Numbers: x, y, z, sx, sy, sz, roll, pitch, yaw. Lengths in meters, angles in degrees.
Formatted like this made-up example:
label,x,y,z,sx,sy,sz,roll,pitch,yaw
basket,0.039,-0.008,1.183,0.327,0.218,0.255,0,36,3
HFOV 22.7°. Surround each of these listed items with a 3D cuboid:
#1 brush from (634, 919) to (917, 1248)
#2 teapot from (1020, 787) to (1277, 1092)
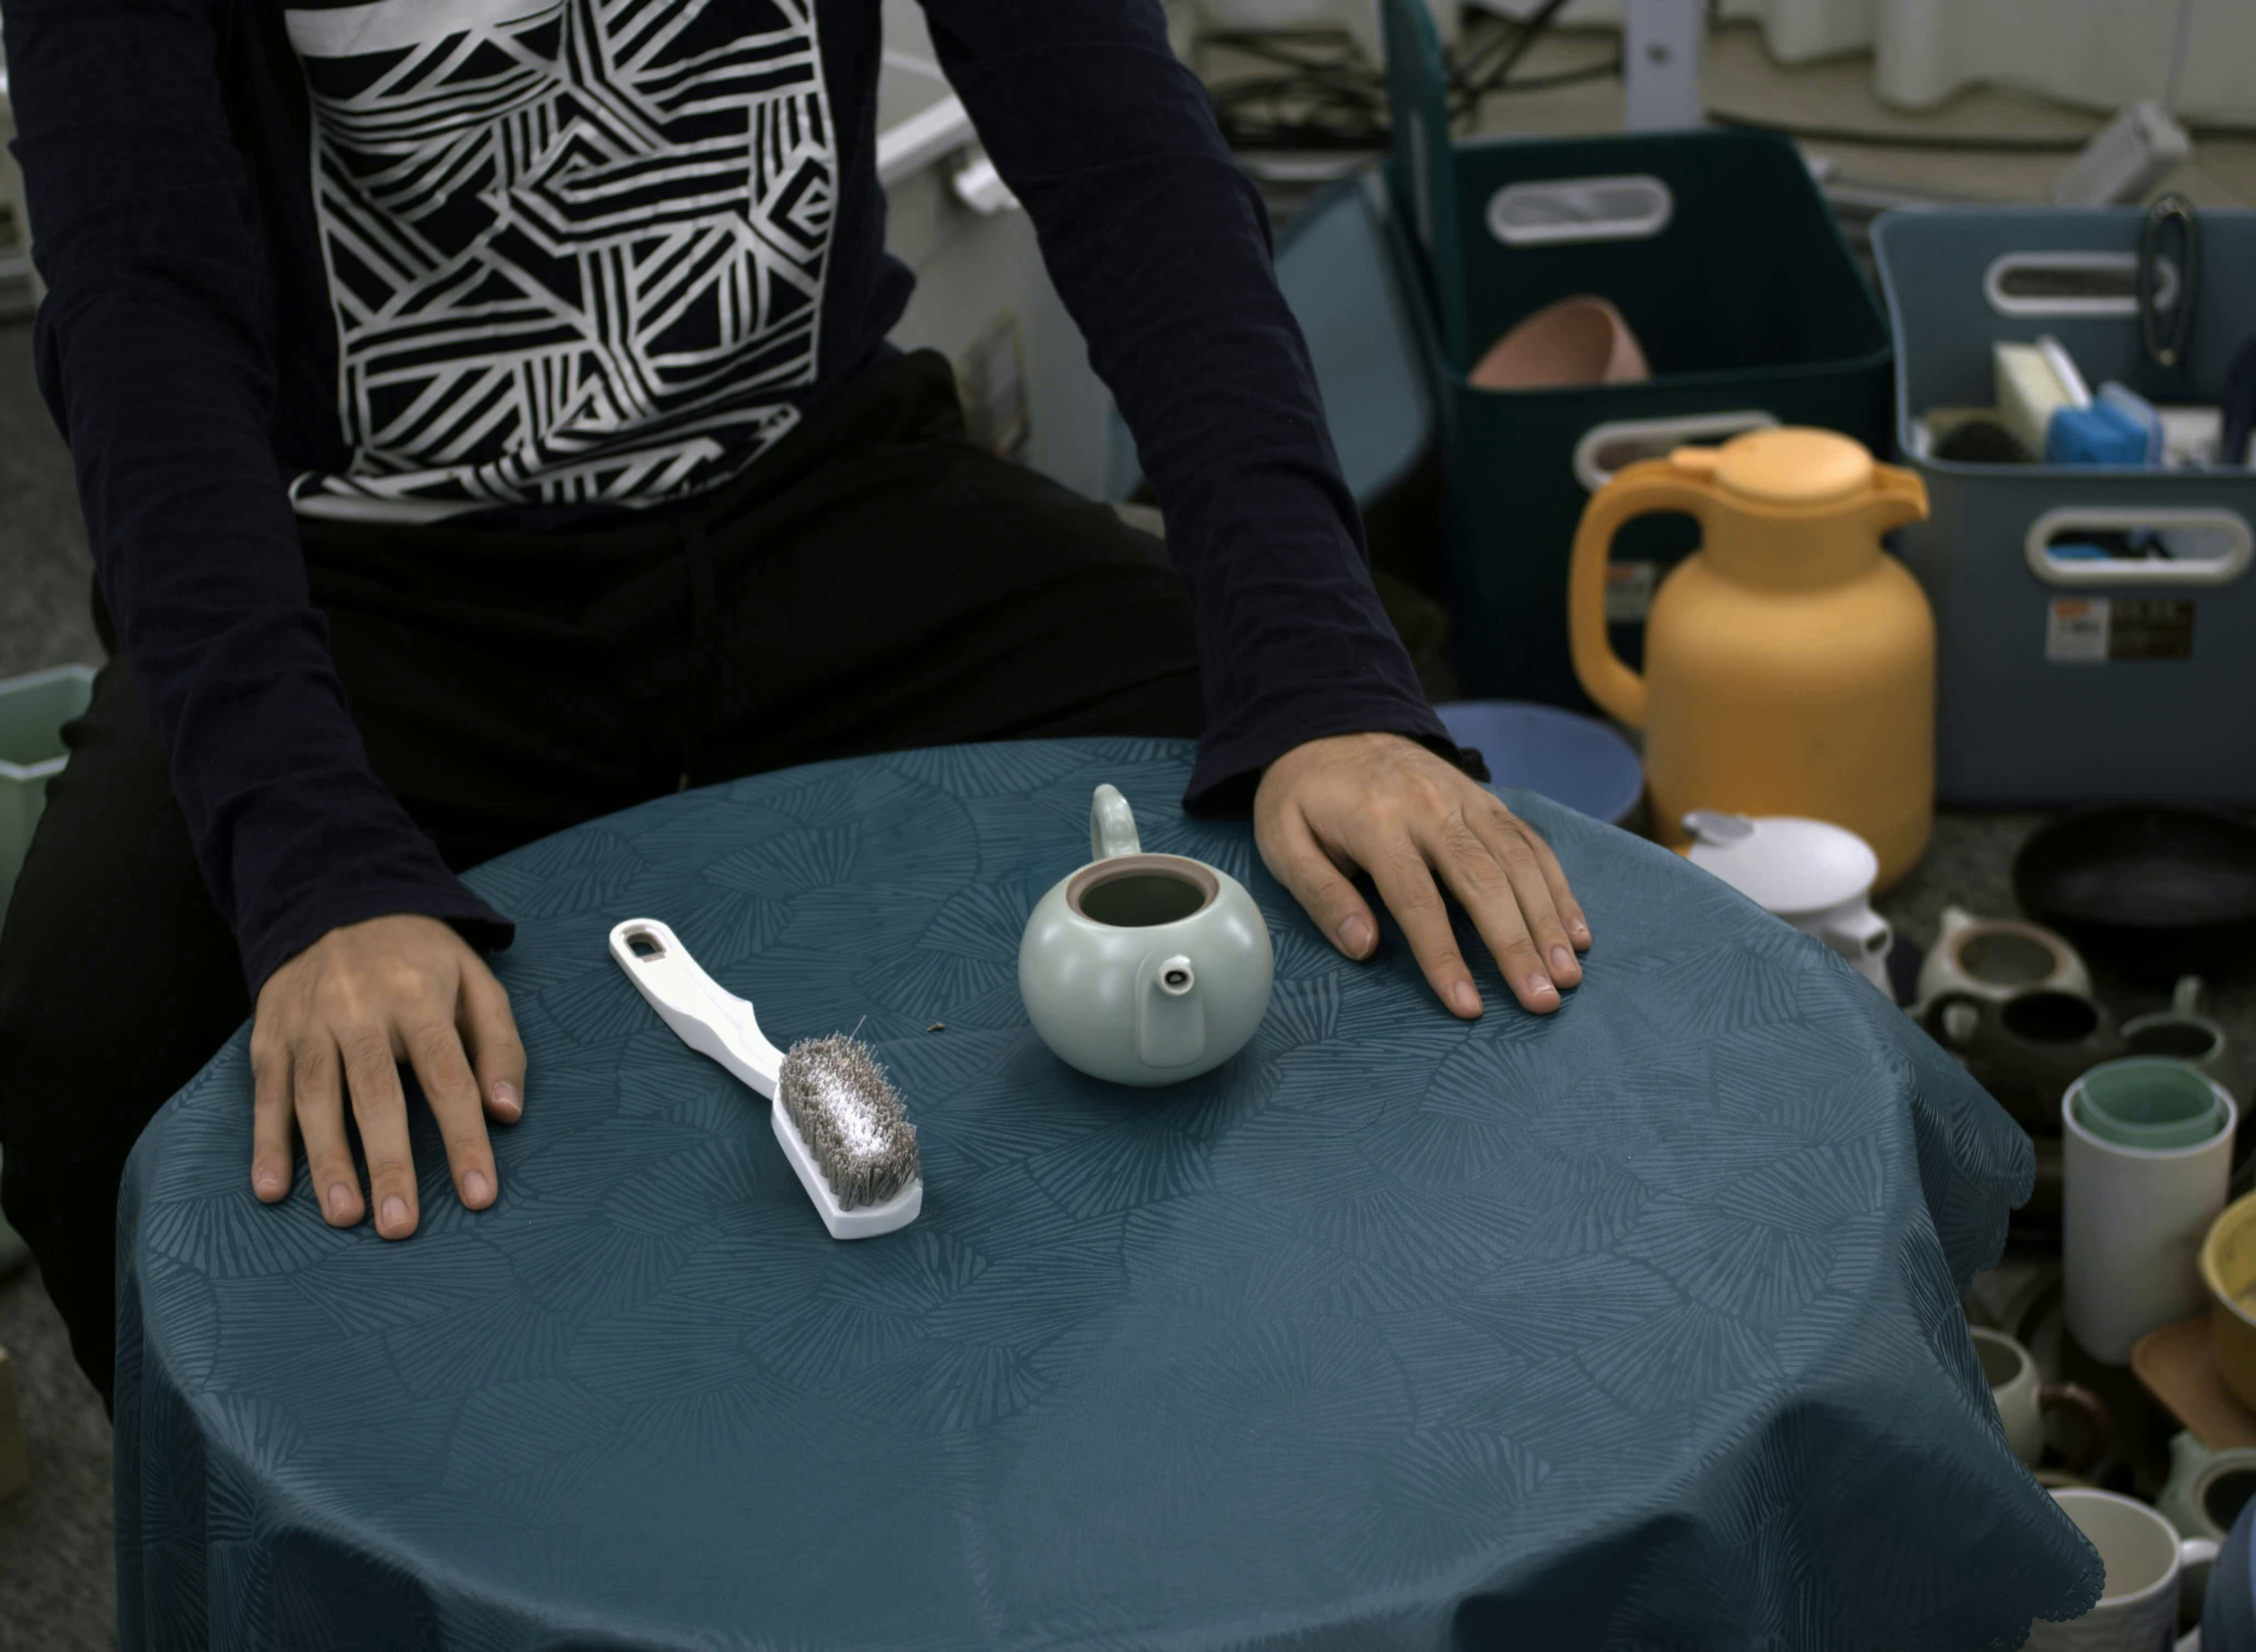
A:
label,x,y,z,sx,sy,sz,roll,pitch,yaw
brush,-0.126,0.070,1.921,0.034,0.050,0.245,-16,30,-16
teapot,0.007,0.049,1.923,0.088,0.074,0.146,-7,28,-5
